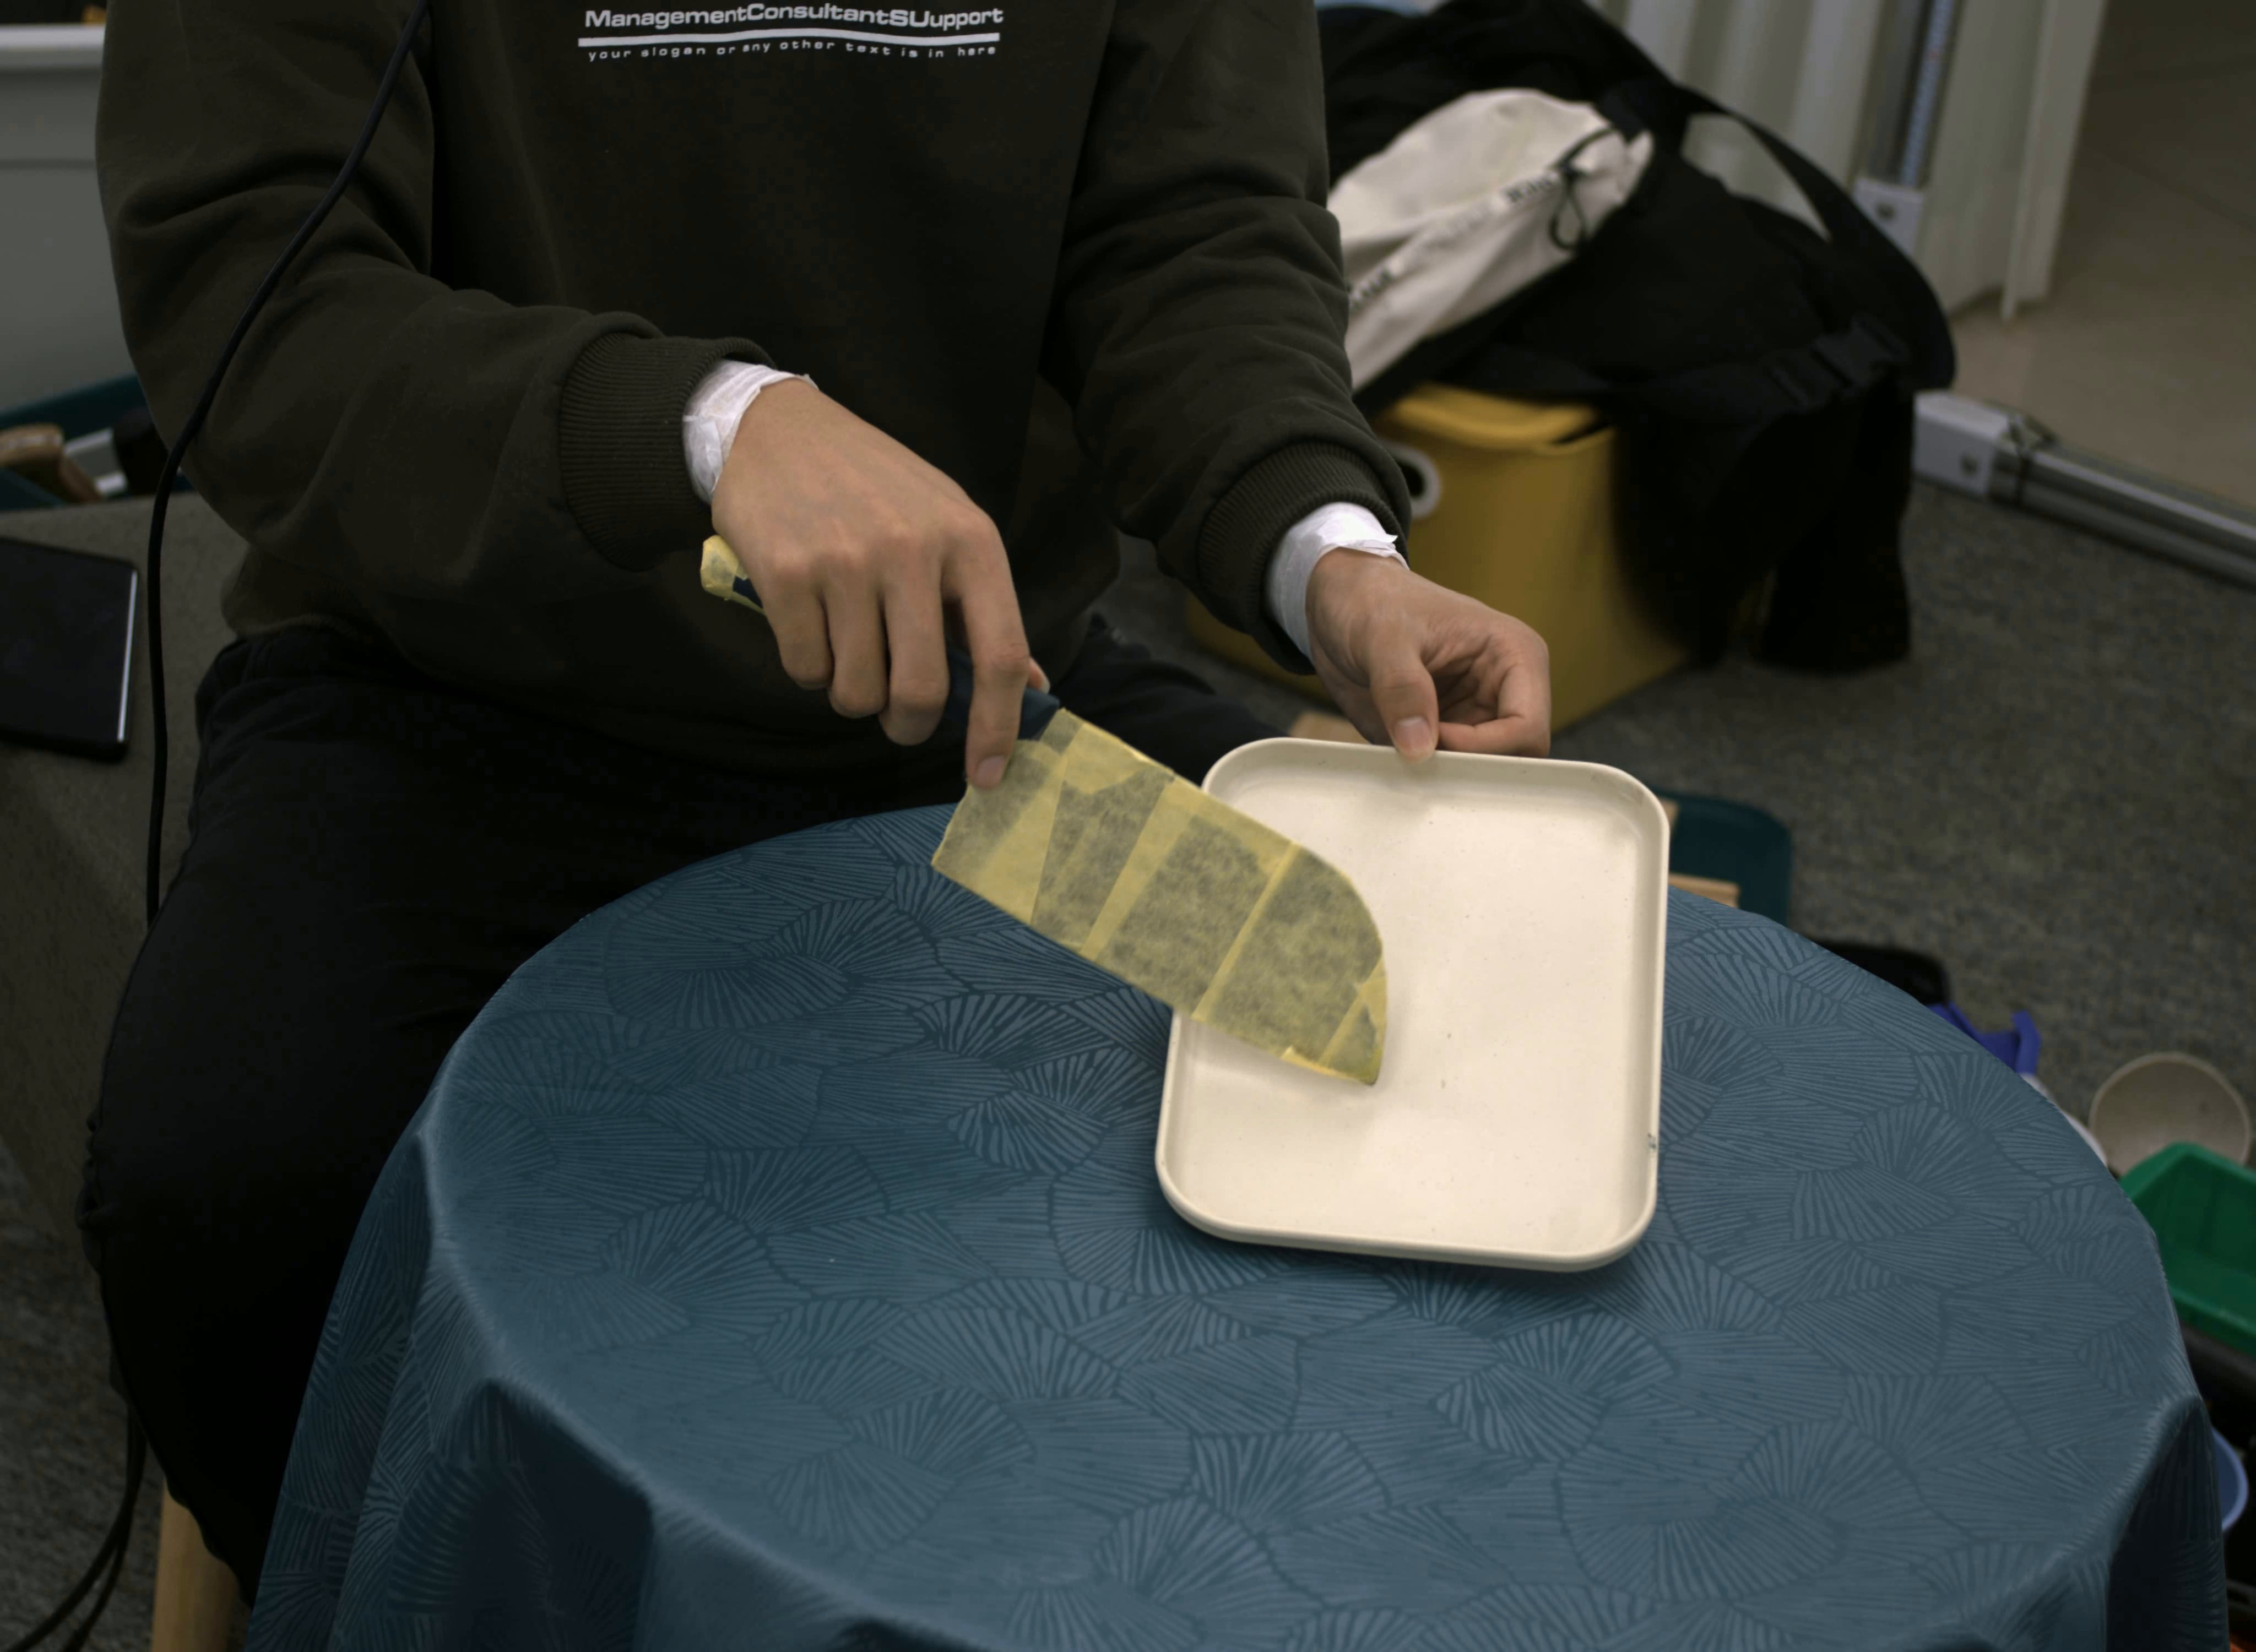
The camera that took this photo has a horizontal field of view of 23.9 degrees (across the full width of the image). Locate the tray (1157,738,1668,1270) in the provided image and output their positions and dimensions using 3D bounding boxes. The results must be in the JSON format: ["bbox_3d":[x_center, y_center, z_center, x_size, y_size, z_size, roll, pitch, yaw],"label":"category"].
[{"bbox_3d":[0.102,0.061,1.856,0.171,0.017,0.241,4,45,4],"label":"tray"}]

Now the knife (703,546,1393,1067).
[{"bbox_3d":[-0.031,-0.006,1.836,0.290,0.081,0.027,33,10,7],"label":"knife"}]
